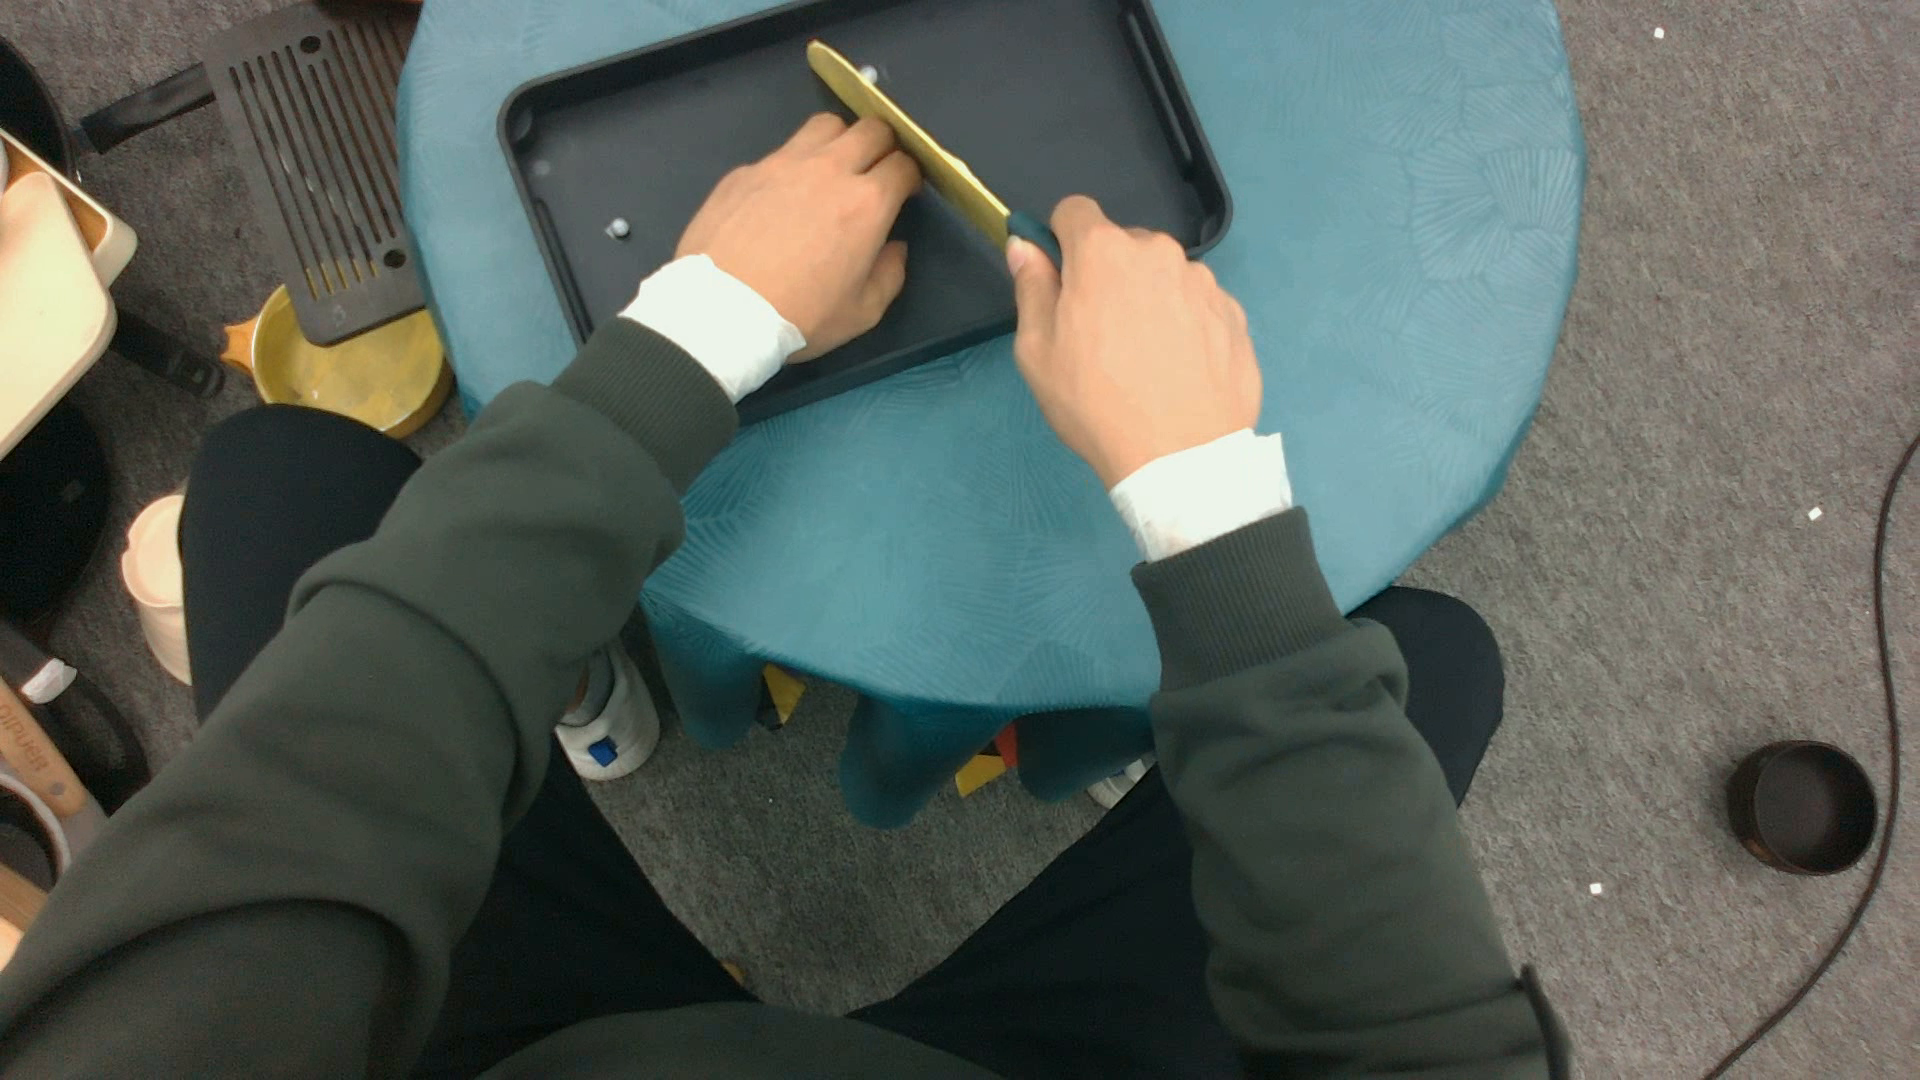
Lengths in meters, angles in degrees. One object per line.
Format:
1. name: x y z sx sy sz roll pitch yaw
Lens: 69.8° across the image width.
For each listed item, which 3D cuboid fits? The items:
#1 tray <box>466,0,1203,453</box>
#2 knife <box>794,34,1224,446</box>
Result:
1. tray: -0.056 -0.177 0.669 0.318 0.037 0.184 -23 85 -10
2. knife: 0.013 -0.141 0.620 0.027 0.081 0.290 -44 70 3
